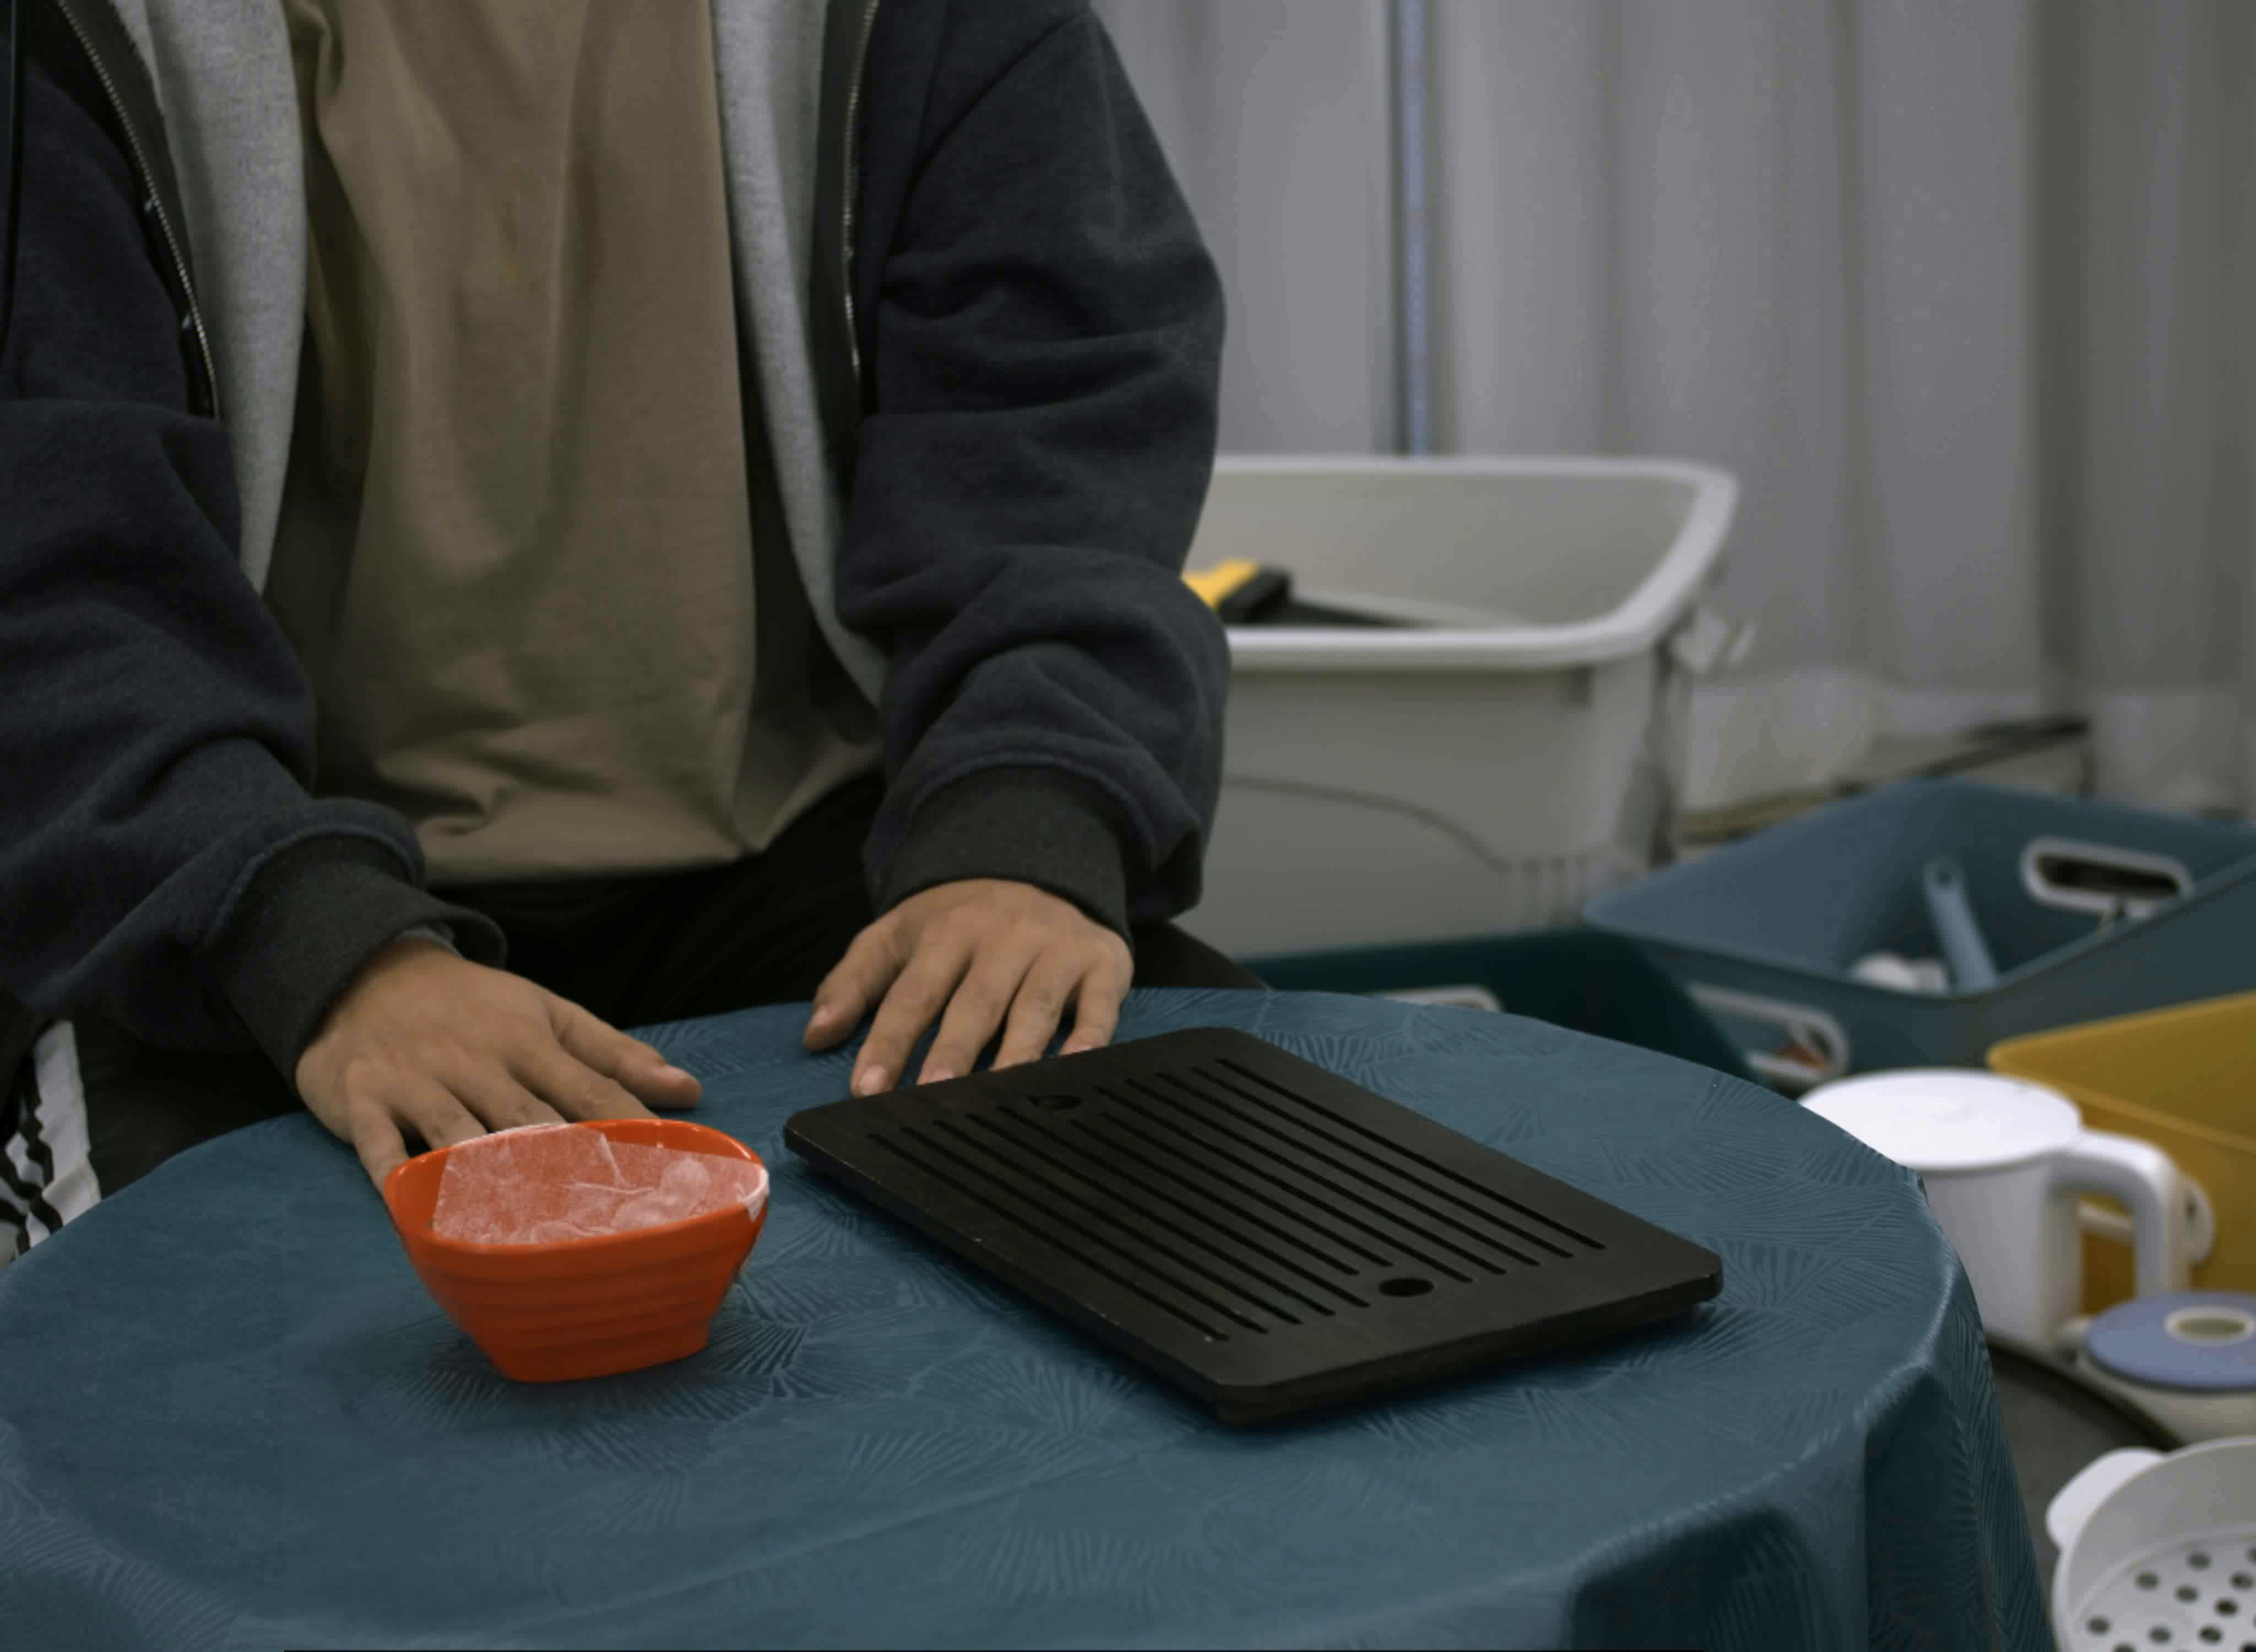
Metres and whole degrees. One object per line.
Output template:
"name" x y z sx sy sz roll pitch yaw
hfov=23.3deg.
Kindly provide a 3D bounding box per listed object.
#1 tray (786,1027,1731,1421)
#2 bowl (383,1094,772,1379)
"tray" 0.033 0.117 1.665 0.169 0.018 0.308 -11 16 -27
"bowl" -0.160 0.123 1.604 0.118 0.051 0.120 -3 19 1
